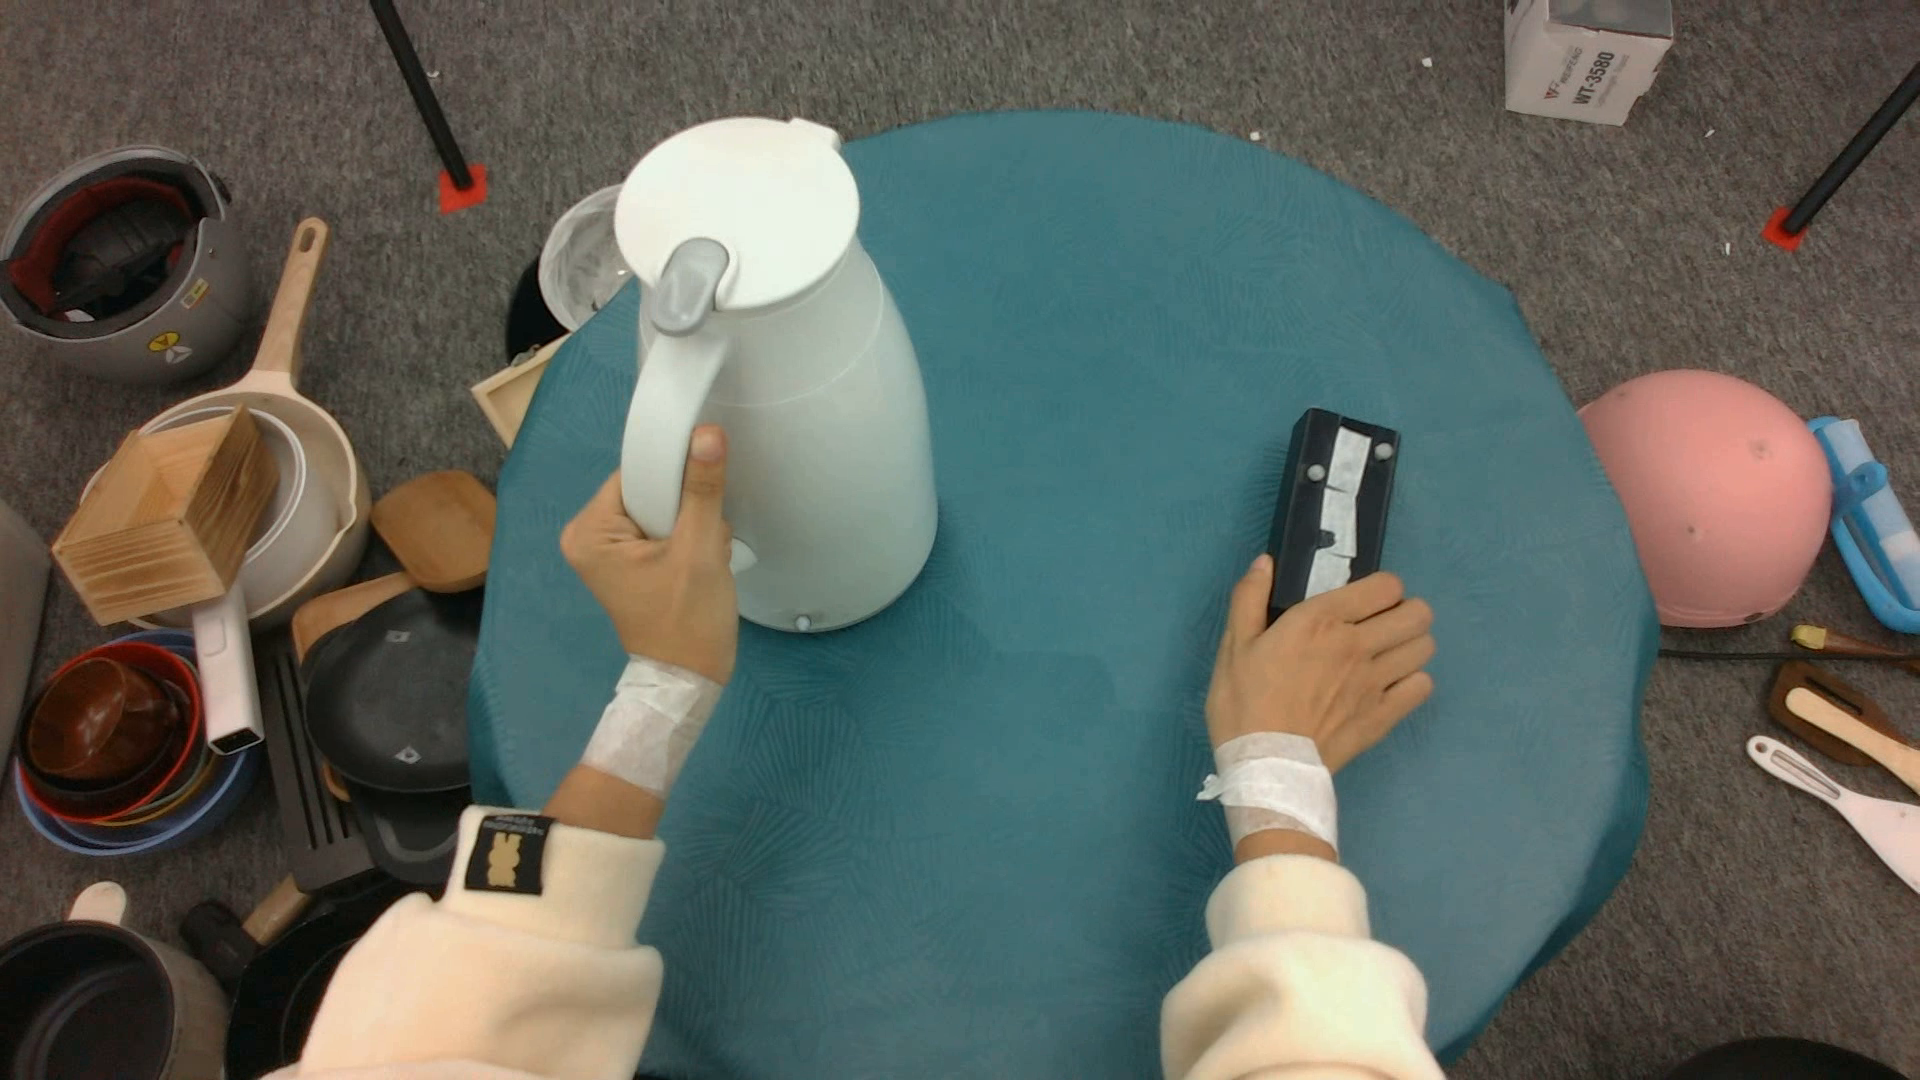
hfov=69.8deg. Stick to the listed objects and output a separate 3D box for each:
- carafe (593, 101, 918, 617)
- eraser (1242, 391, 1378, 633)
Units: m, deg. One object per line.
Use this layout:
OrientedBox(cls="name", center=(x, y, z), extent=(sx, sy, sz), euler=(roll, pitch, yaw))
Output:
OrientedBox(cls="carafe", center=(-0.096, -0.060, 0.608), extent=(0.132, 0.247, 0.168), euler=(19, 64, 10))
OrientedBox(cls="eraser", center=(0.178, -0.016, 0.700), extent=(0.053, 0.030, 0.126), euler=(14, 61, 3))
